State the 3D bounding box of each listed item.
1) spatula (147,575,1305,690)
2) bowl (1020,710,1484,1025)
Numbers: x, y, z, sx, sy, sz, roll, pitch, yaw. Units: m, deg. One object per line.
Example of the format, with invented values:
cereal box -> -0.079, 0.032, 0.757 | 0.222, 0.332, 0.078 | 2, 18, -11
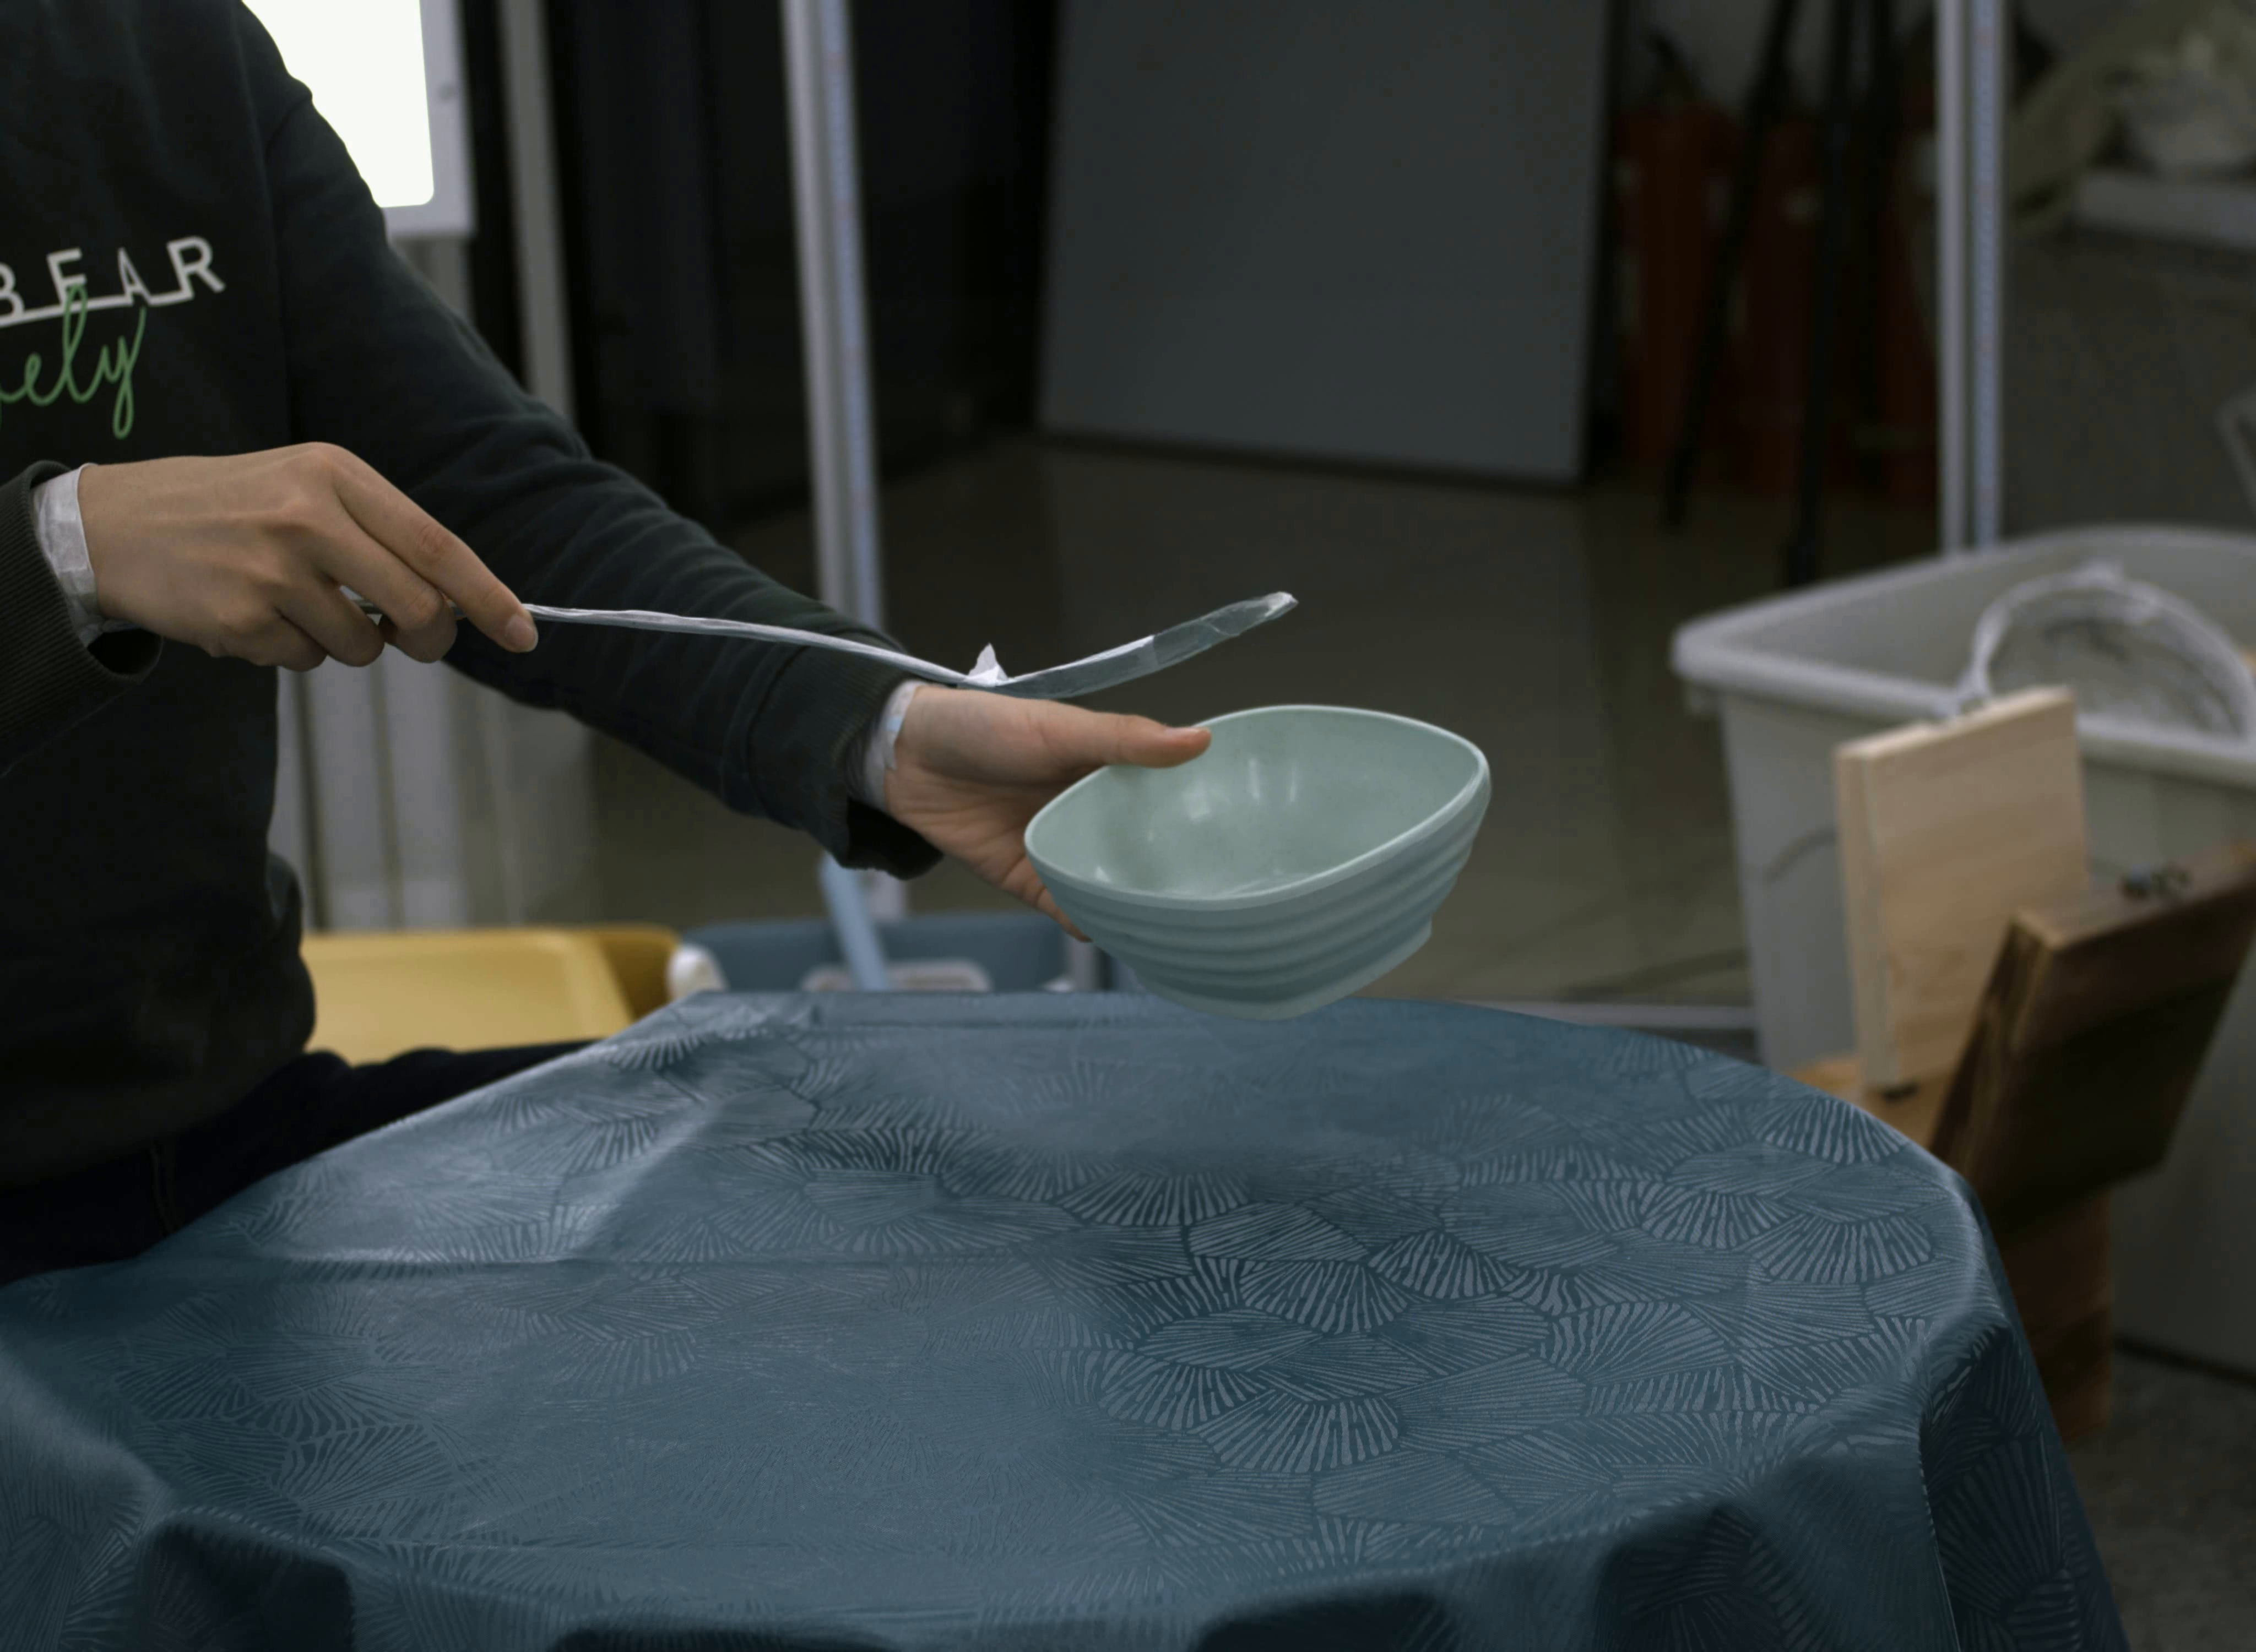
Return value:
spatula -> -0.126, -0.068, 1.672 | 0.361, 0.045, 0.098 | 4, 3, 4
bowl -> 0.044, 0.018, 1.727 | 0.150, 0.059, 0.152 | -10, 22, 3
